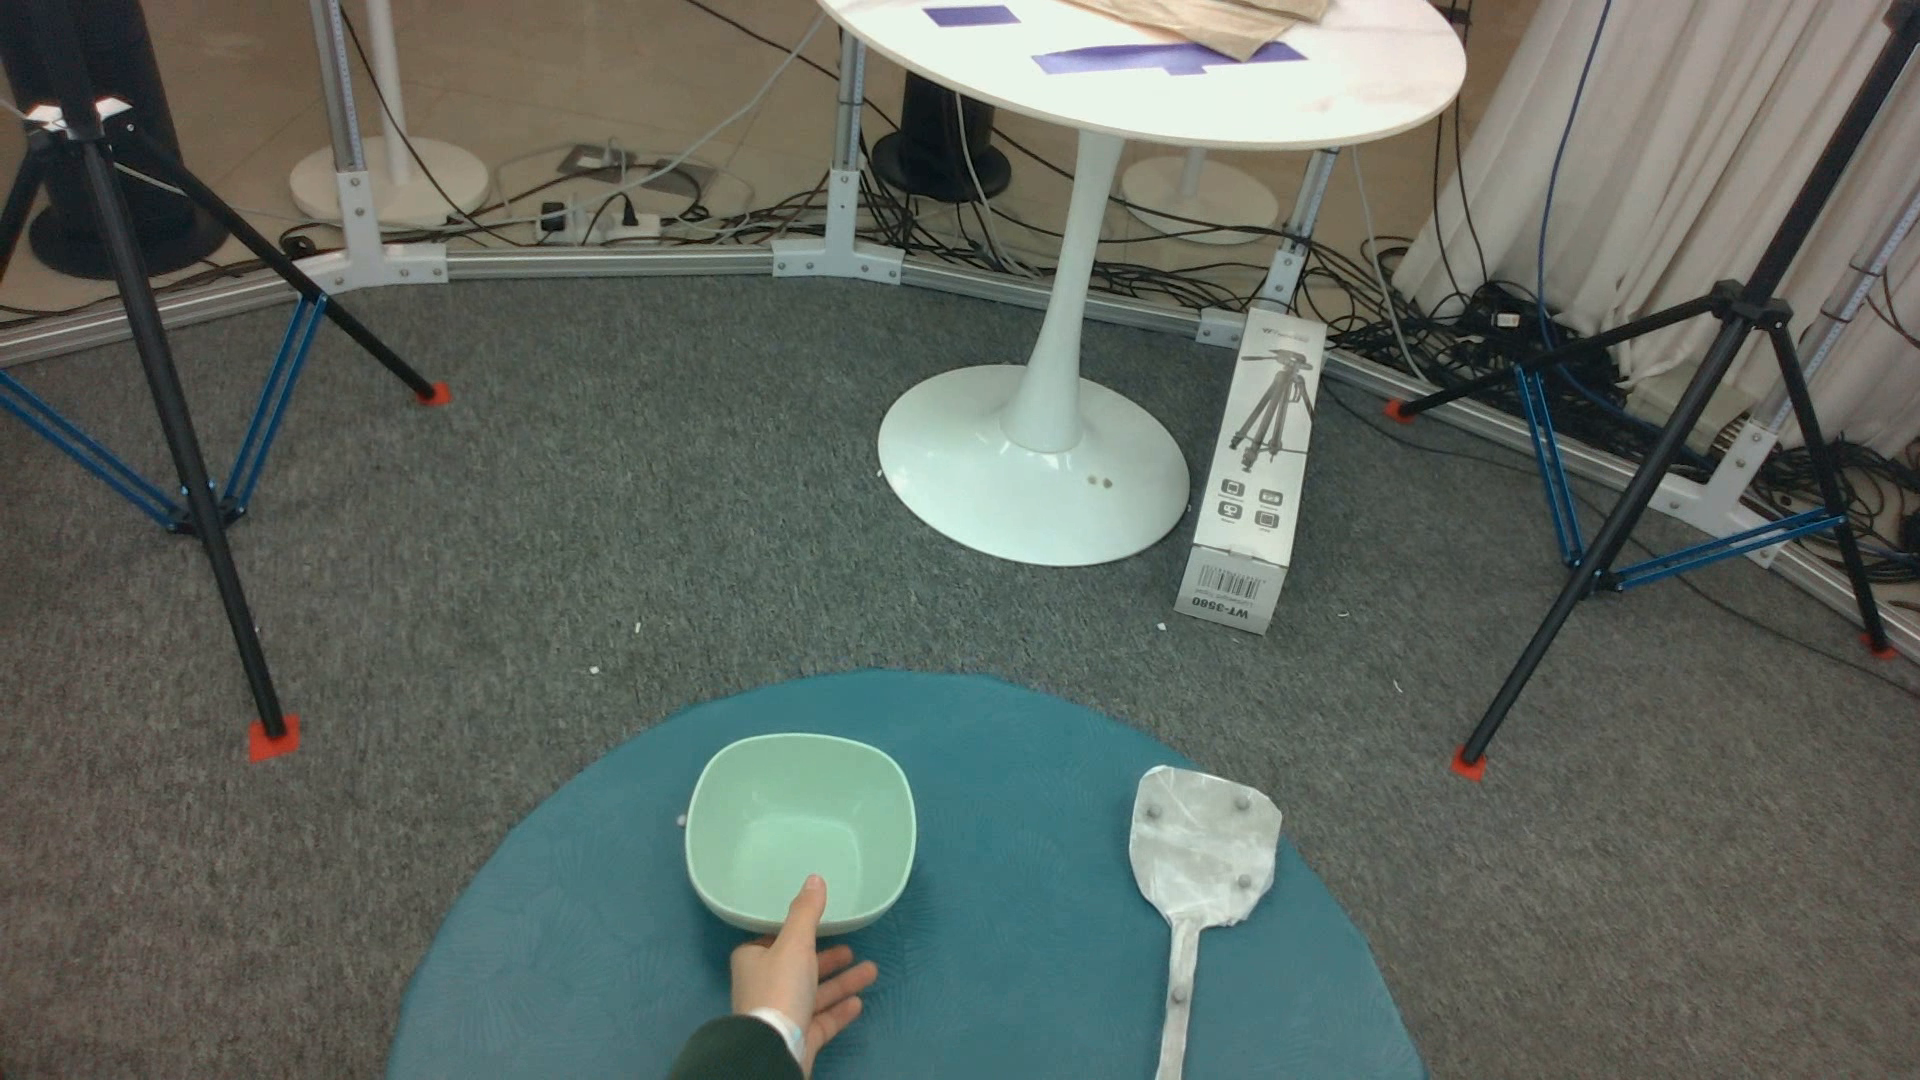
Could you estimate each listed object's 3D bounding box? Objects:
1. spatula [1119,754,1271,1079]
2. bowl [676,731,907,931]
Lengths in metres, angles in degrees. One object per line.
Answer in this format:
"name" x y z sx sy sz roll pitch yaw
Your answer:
"spatula" 0.119 0.280 0.813 0.098 0.044 0.367 17 41 4
"bowl" -0.104 0.189 0.853 0.151 0.058 0.152 4 41 -4
